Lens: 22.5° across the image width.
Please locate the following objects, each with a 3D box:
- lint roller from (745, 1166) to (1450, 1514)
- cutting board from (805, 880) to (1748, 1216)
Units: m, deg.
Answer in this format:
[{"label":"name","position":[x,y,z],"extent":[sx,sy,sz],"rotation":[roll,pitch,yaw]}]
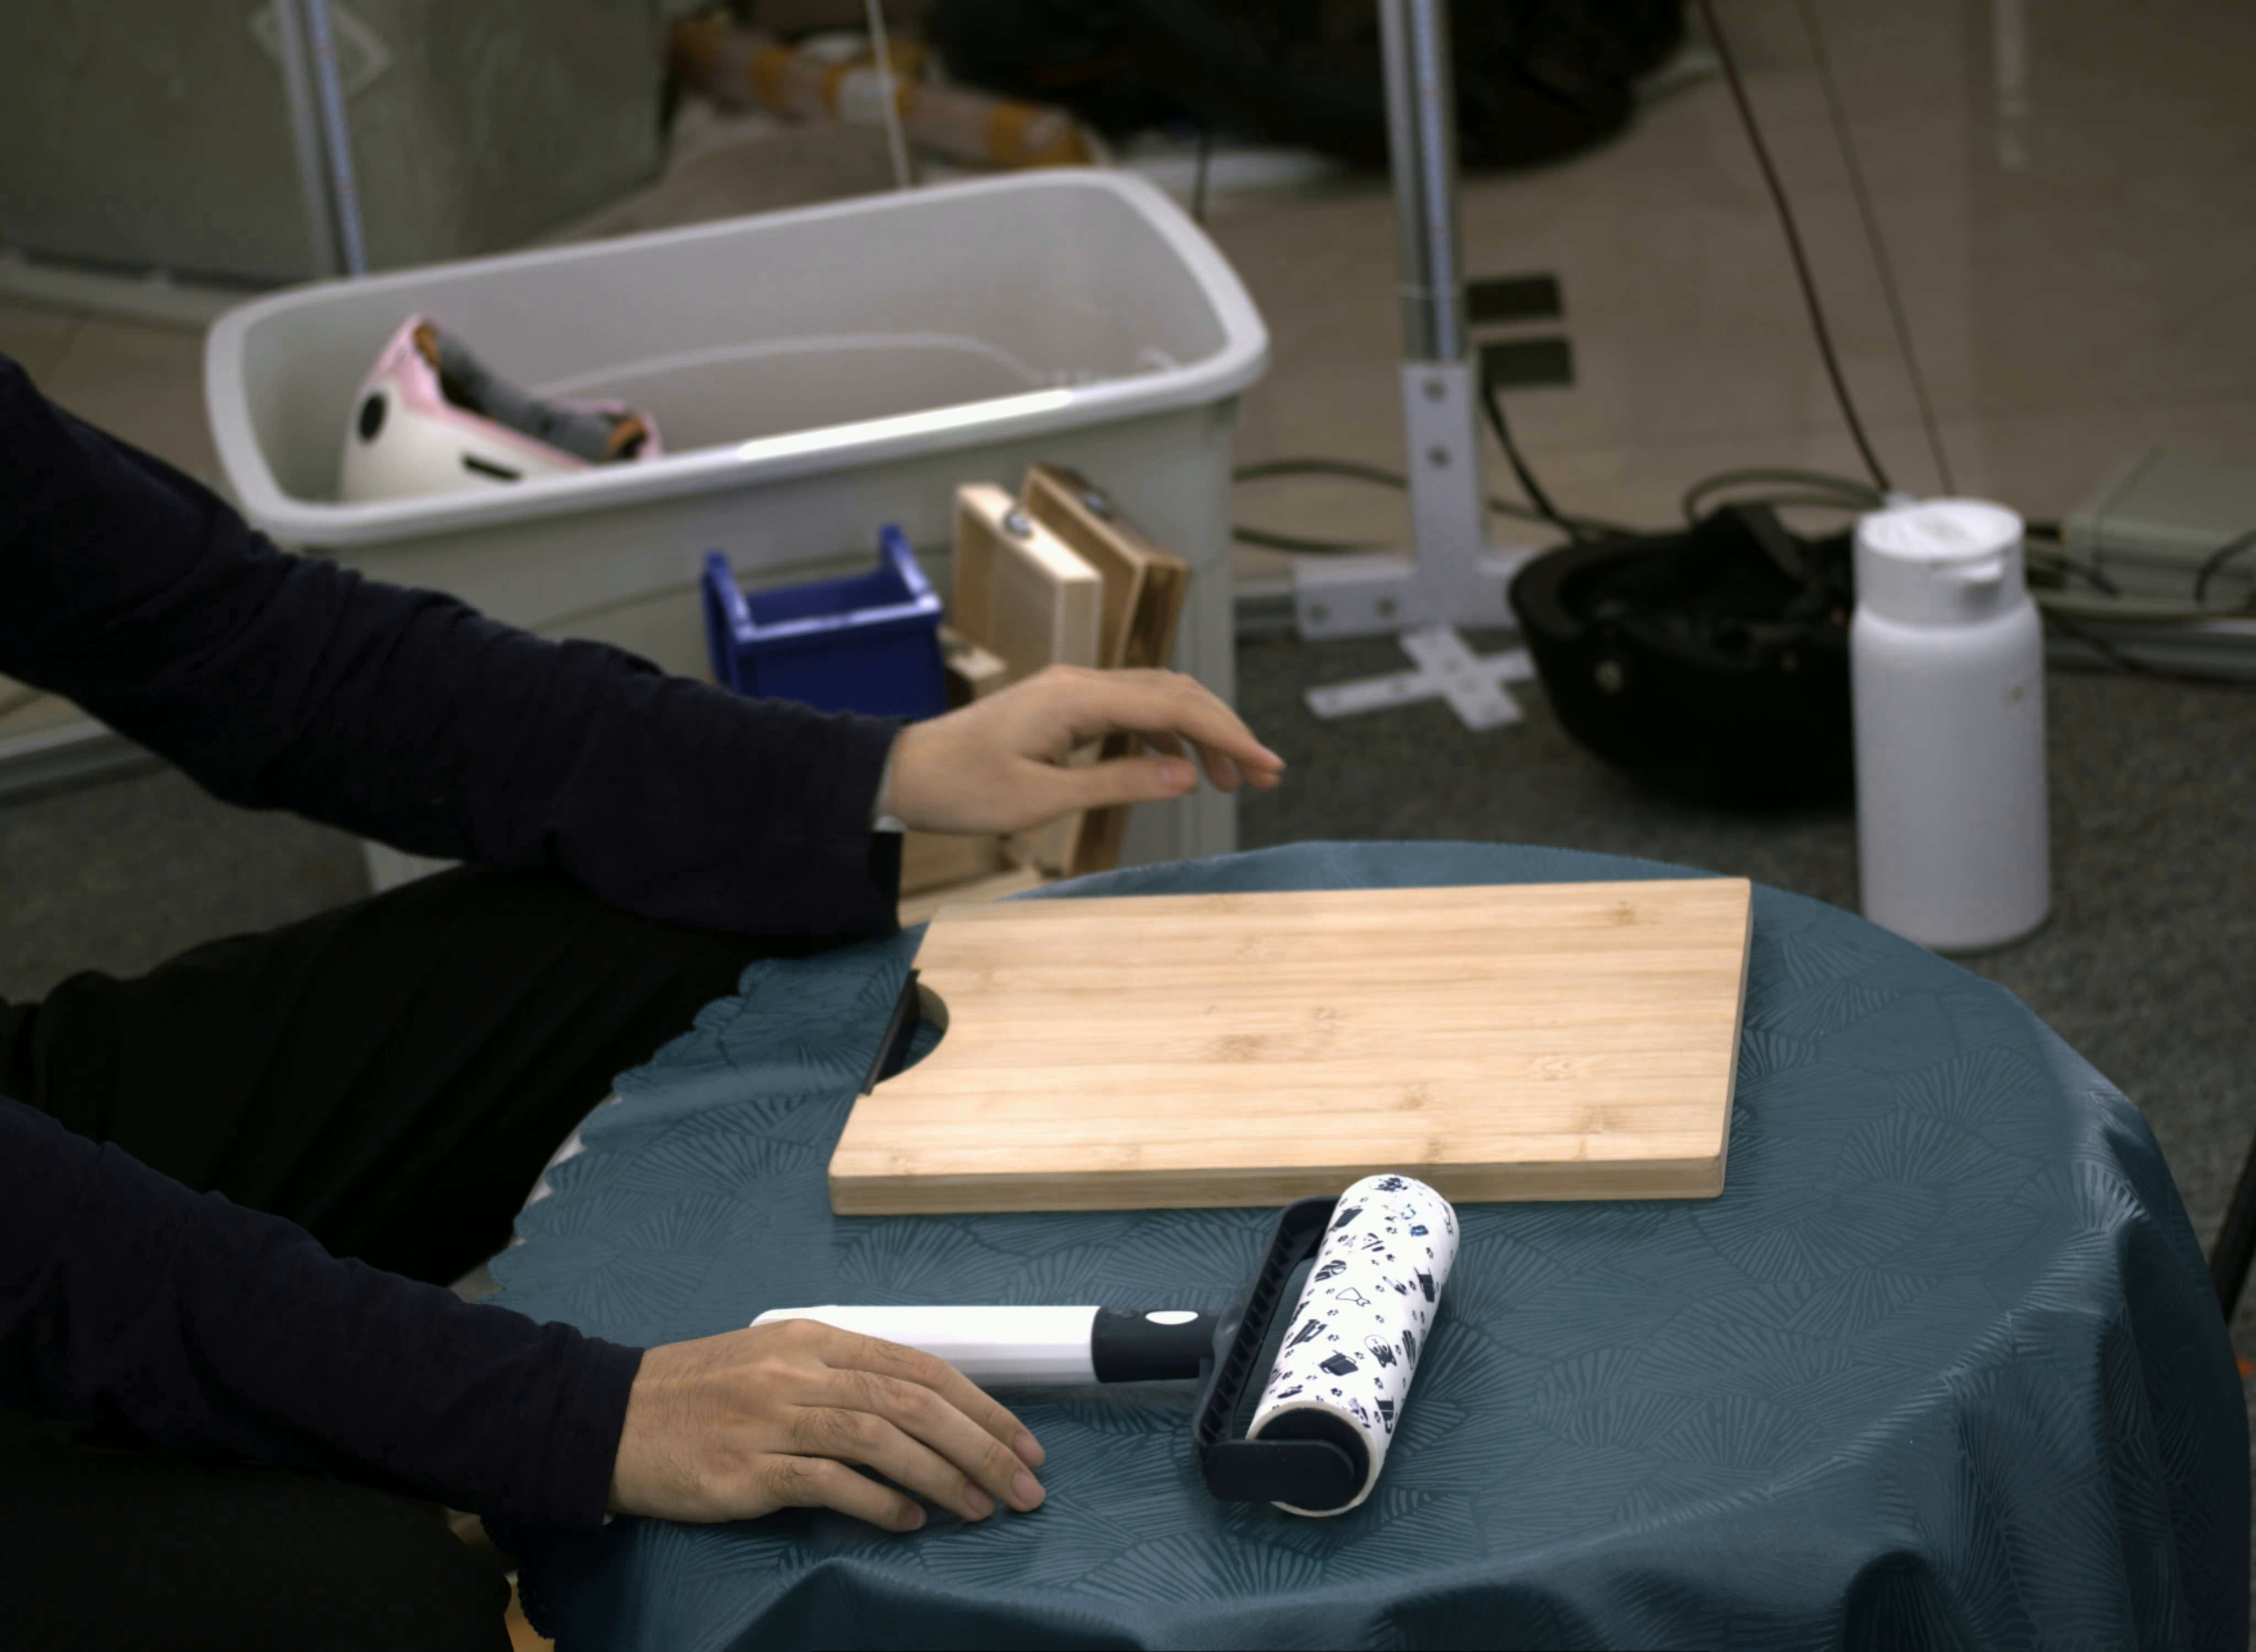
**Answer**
[{"label":"lint roller","position":[-0.019,0.183,2.011],"extent":[0.246,0.051,0.174],"rotation":[-2,26,15]},{"label":"cutting board","position":[0.065,0.086,2.231],"extent":[0.348,0.024,0.247],"rotation":[-2,25,10]}]
